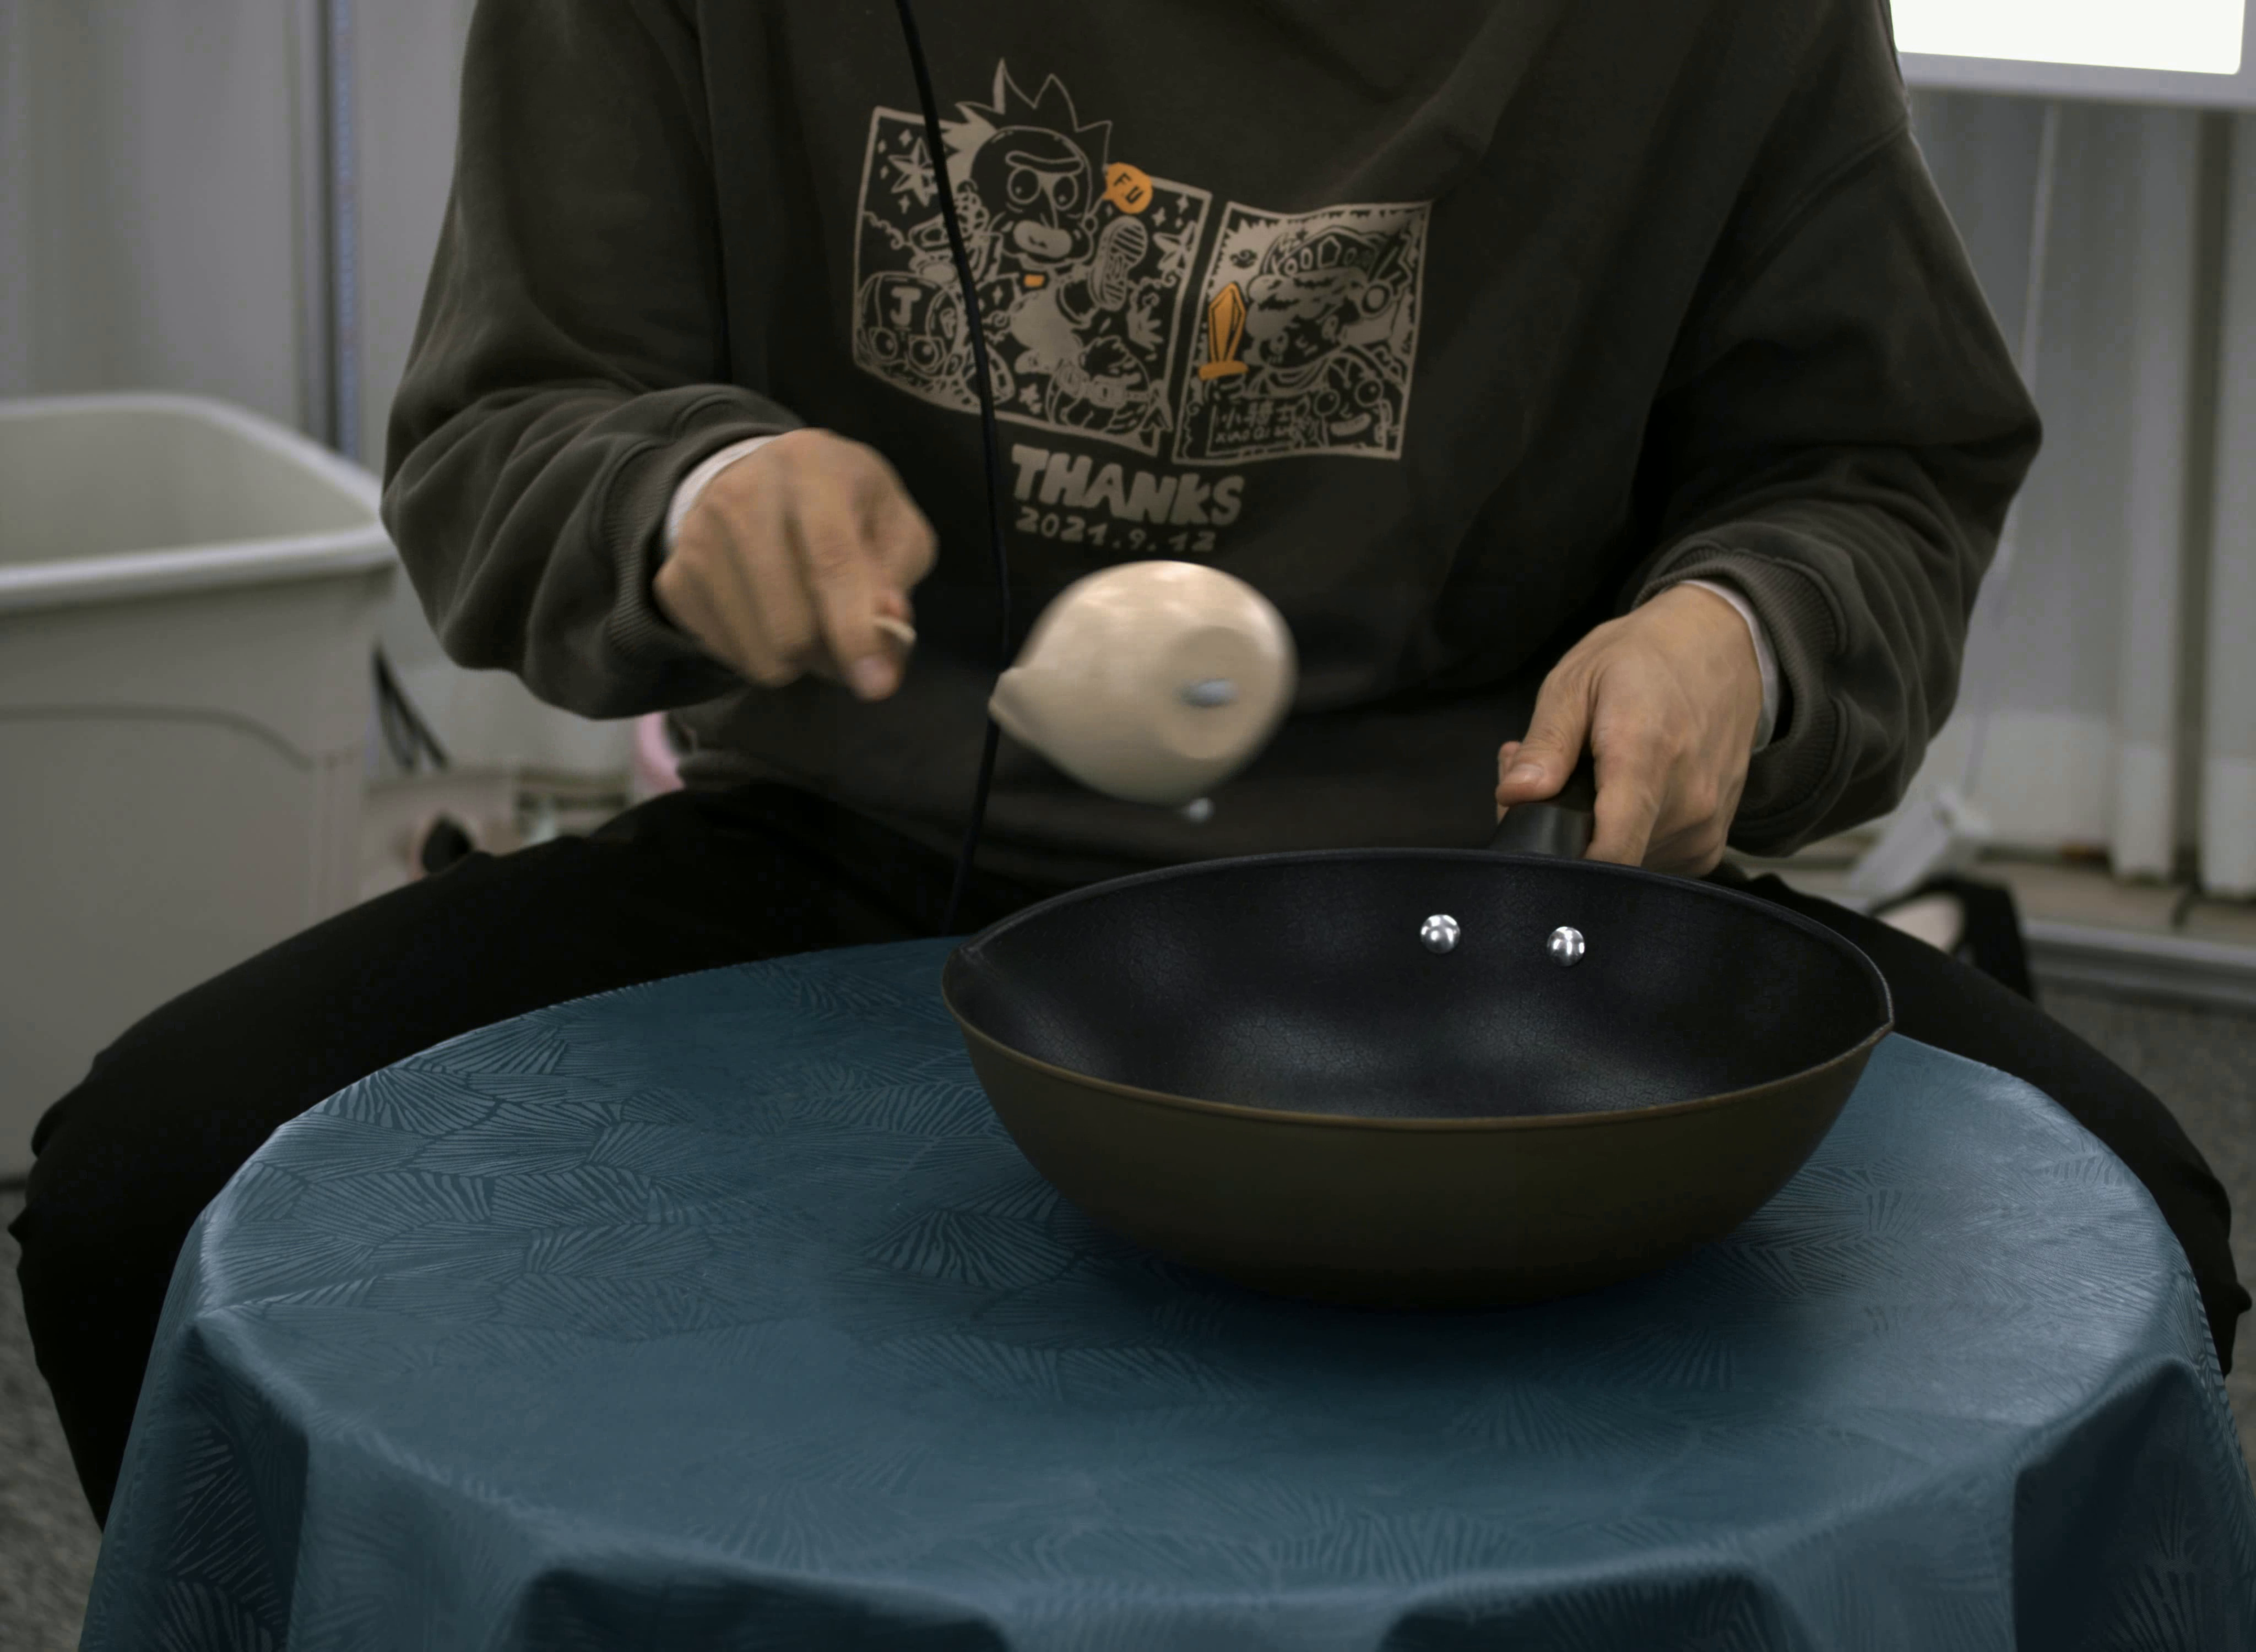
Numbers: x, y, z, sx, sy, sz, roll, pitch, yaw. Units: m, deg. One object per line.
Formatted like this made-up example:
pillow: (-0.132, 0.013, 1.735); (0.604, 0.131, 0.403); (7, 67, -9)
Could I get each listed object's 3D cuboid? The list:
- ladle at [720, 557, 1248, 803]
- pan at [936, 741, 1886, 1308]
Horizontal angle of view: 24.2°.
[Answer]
ladle: (-0.046, -0.067, 1.605); (0.073, 0.073, 0.251); (-34, 28, -14)
pan: (0.109, 0.060, 1.671); (0.286, 0.087, 0.463); (5, 15, 15)
